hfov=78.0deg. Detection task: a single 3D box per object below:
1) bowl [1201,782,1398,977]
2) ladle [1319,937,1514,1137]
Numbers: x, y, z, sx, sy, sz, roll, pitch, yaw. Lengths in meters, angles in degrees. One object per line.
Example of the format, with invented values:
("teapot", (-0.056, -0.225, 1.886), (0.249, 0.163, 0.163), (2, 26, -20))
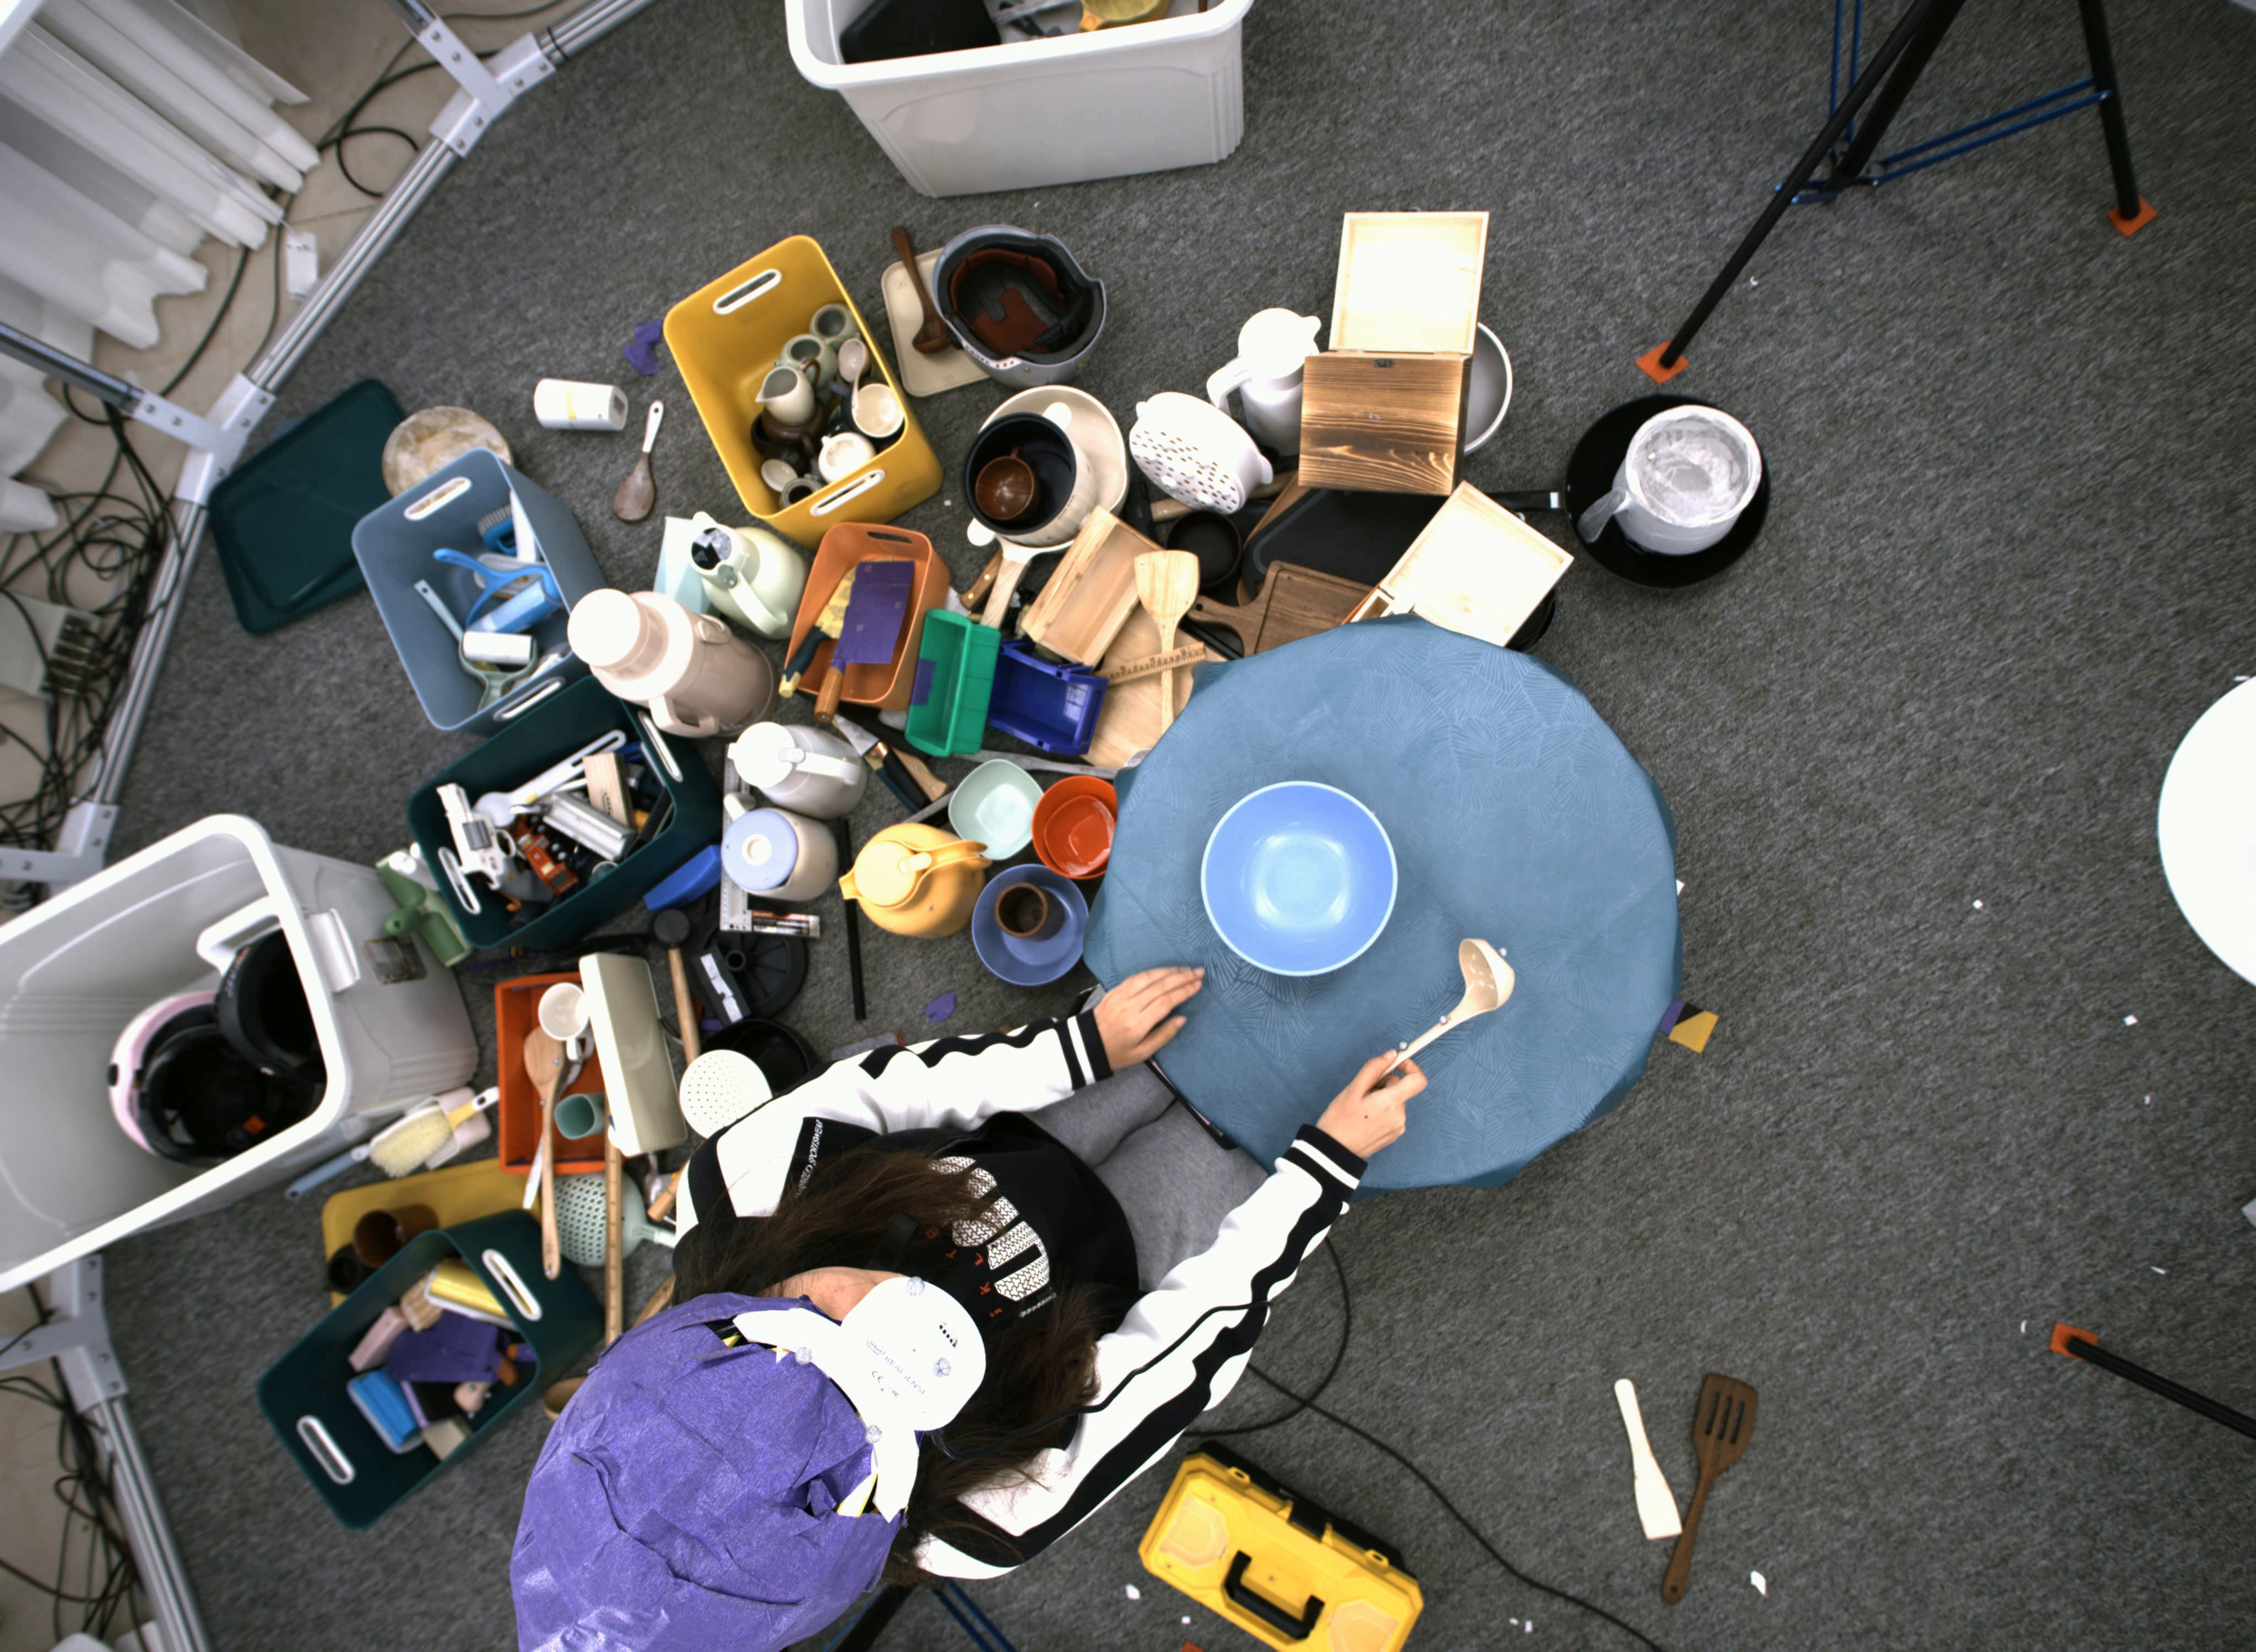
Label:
("bowl", (0.178, 0.056, 1.433), (0.197, 0.095, 0.196), (-1, 88, 10))
("ladle", (0.269, 0.206, 1.359), (0.256, 0.074, 0.071), (-41, 38, 7))
